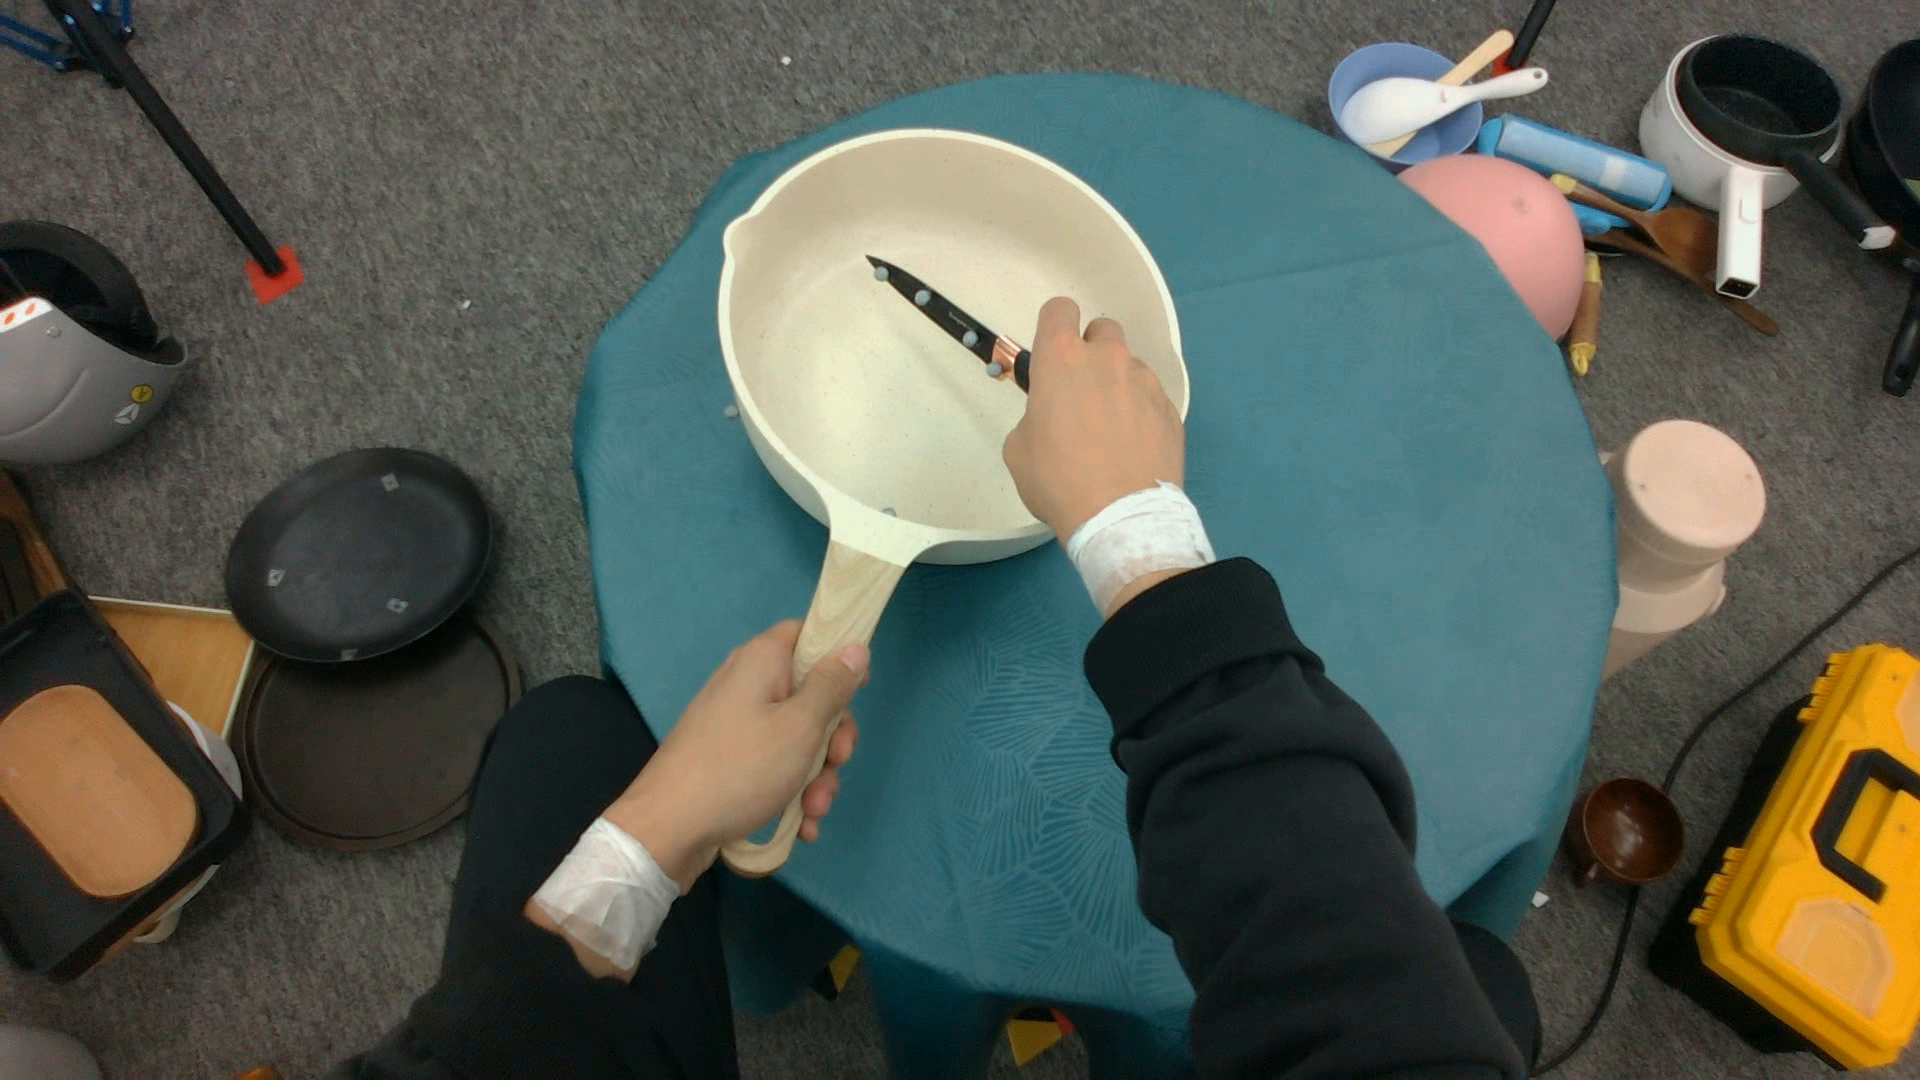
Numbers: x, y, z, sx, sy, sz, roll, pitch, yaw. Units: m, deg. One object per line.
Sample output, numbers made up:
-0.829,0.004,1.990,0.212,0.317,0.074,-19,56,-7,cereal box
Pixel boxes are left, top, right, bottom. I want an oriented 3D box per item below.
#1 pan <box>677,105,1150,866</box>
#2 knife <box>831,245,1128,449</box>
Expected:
-0.054,-0.036,0.720,0.263,0.101,0.436,21,65,-6,pan
0.003,-0.111,0.734,0.017,0.026,0.225,-36,58,-26,knife
